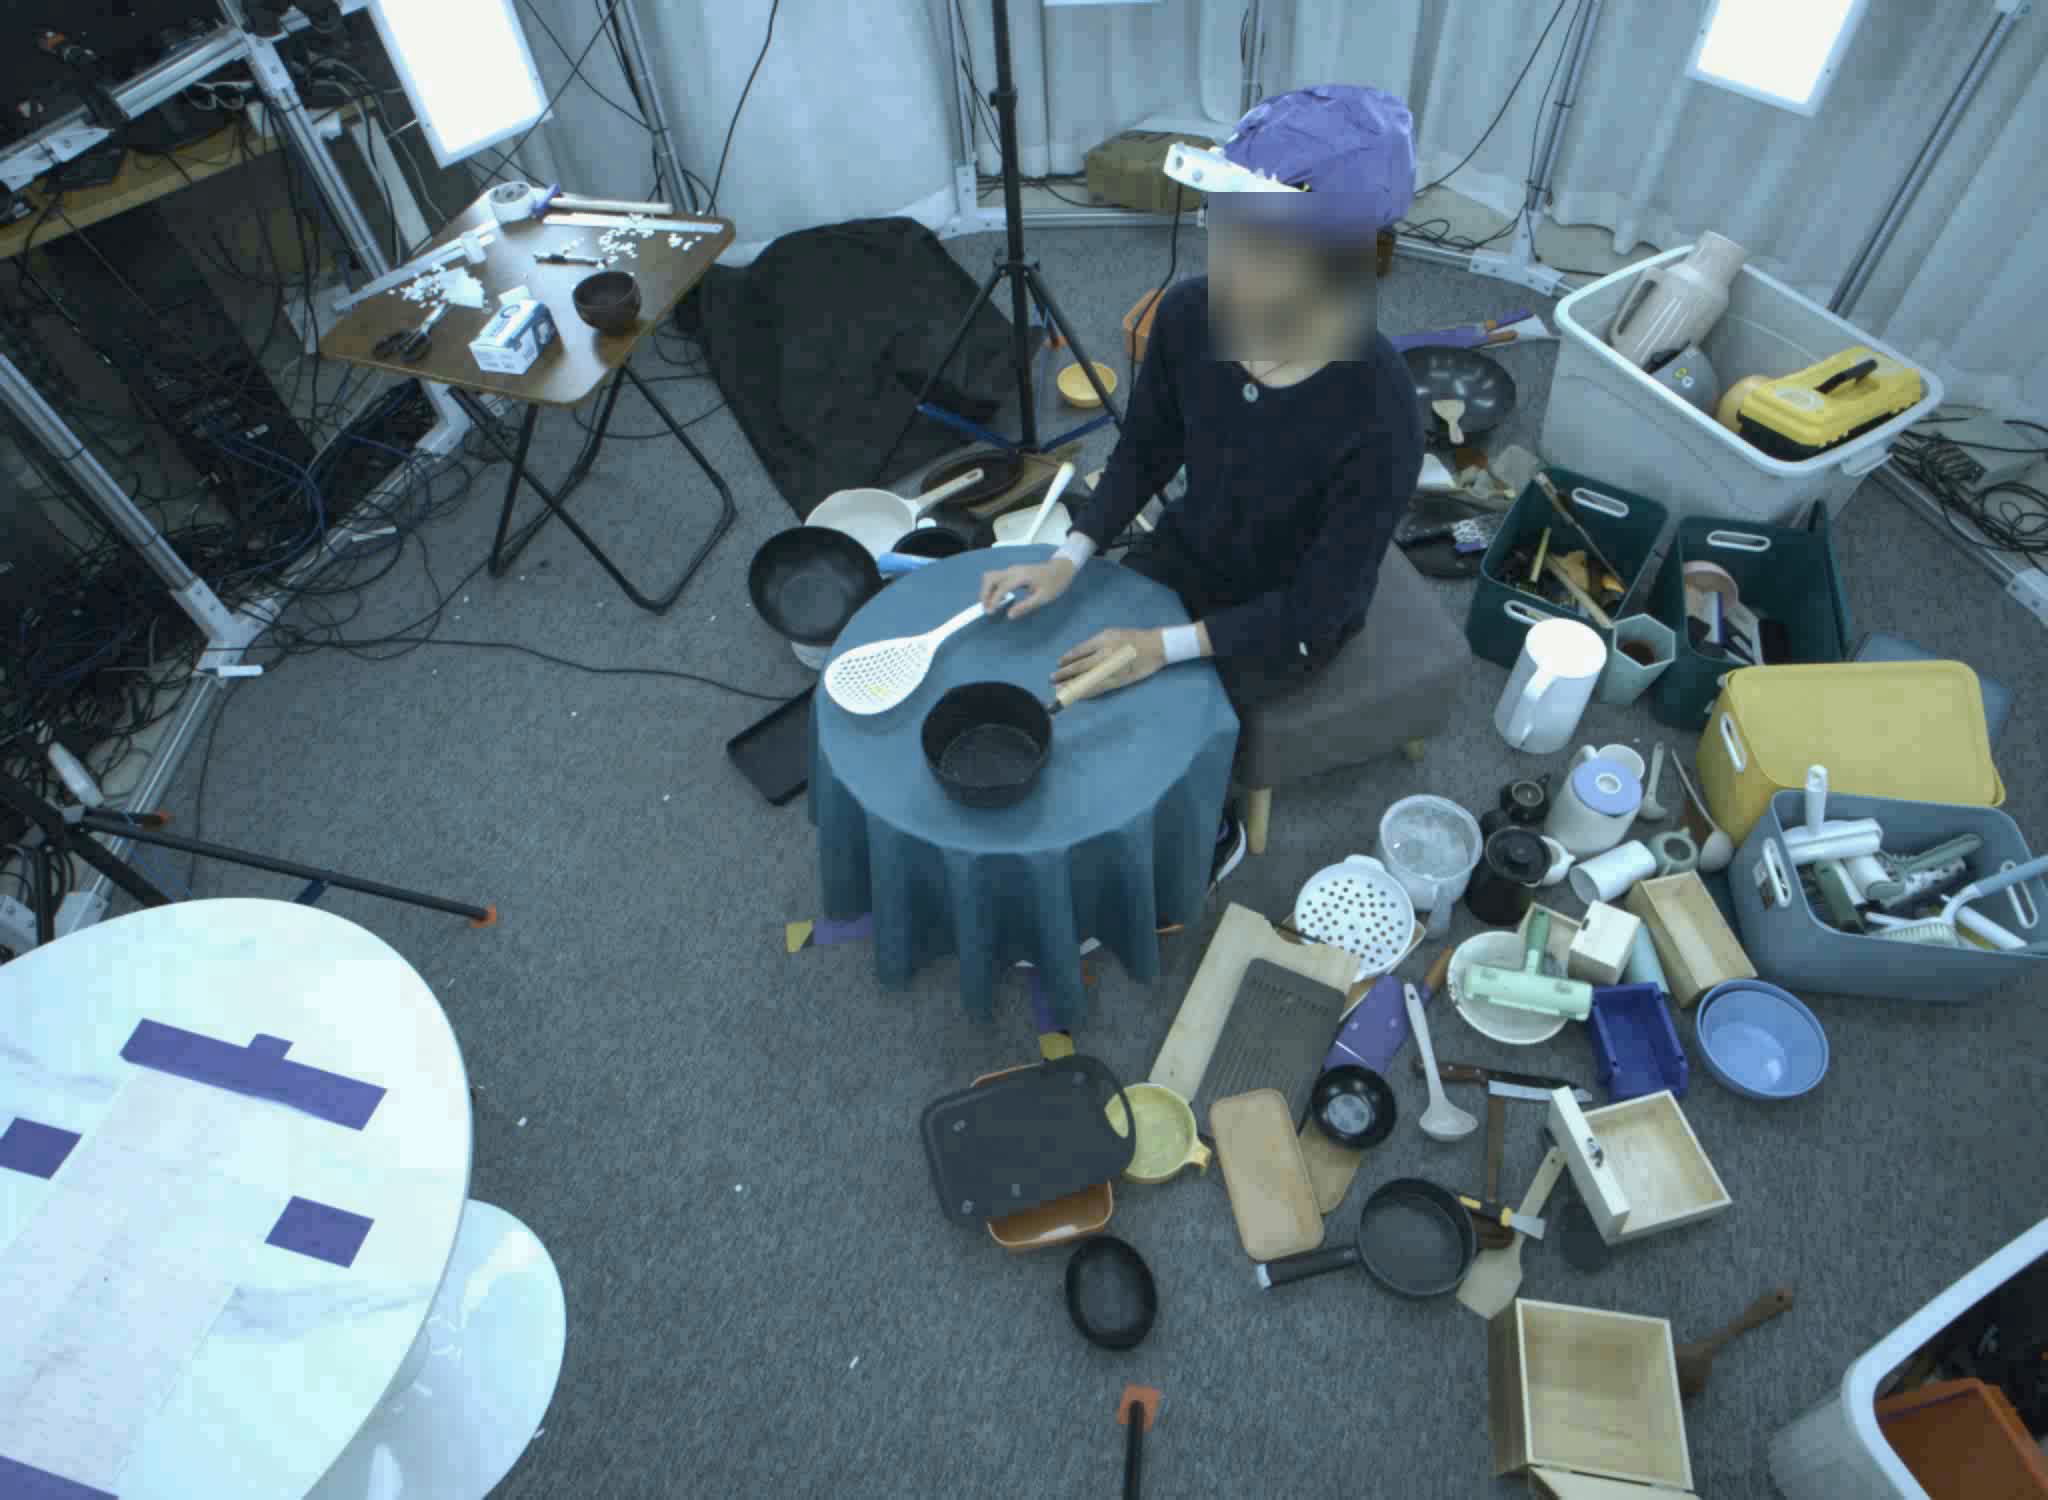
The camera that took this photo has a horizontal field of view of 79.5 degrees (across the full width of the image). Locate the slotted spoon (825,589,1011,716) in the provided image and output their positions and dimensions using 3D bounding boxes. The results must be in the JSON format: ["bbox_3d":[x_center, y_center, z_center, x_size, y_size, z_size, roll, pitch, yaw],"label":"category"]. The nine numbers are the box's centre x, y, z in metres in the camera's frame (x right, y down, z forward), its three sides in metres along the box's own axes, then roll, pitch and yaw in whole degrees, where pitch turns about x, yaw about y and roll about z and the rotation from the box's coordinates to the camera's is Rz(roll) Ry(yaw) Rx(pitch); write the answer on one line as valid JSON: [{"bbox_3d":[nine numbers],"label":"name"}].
[{"bbox_3d":[-0.148,-0.161,1.880,0.350,0.051,0.134,-39,61,-21],"label":"slotted spoon"}]

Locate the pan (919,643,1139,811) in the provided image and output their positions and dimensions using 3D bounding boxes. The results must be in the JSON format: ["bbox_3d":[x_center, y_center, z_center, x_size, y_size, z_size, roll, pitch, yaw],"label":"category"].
[{"bbox_3d":[0.016,-0.044,1.751,0.345,0.109,0.203,-29,57,-16],"label":"pan"}]
